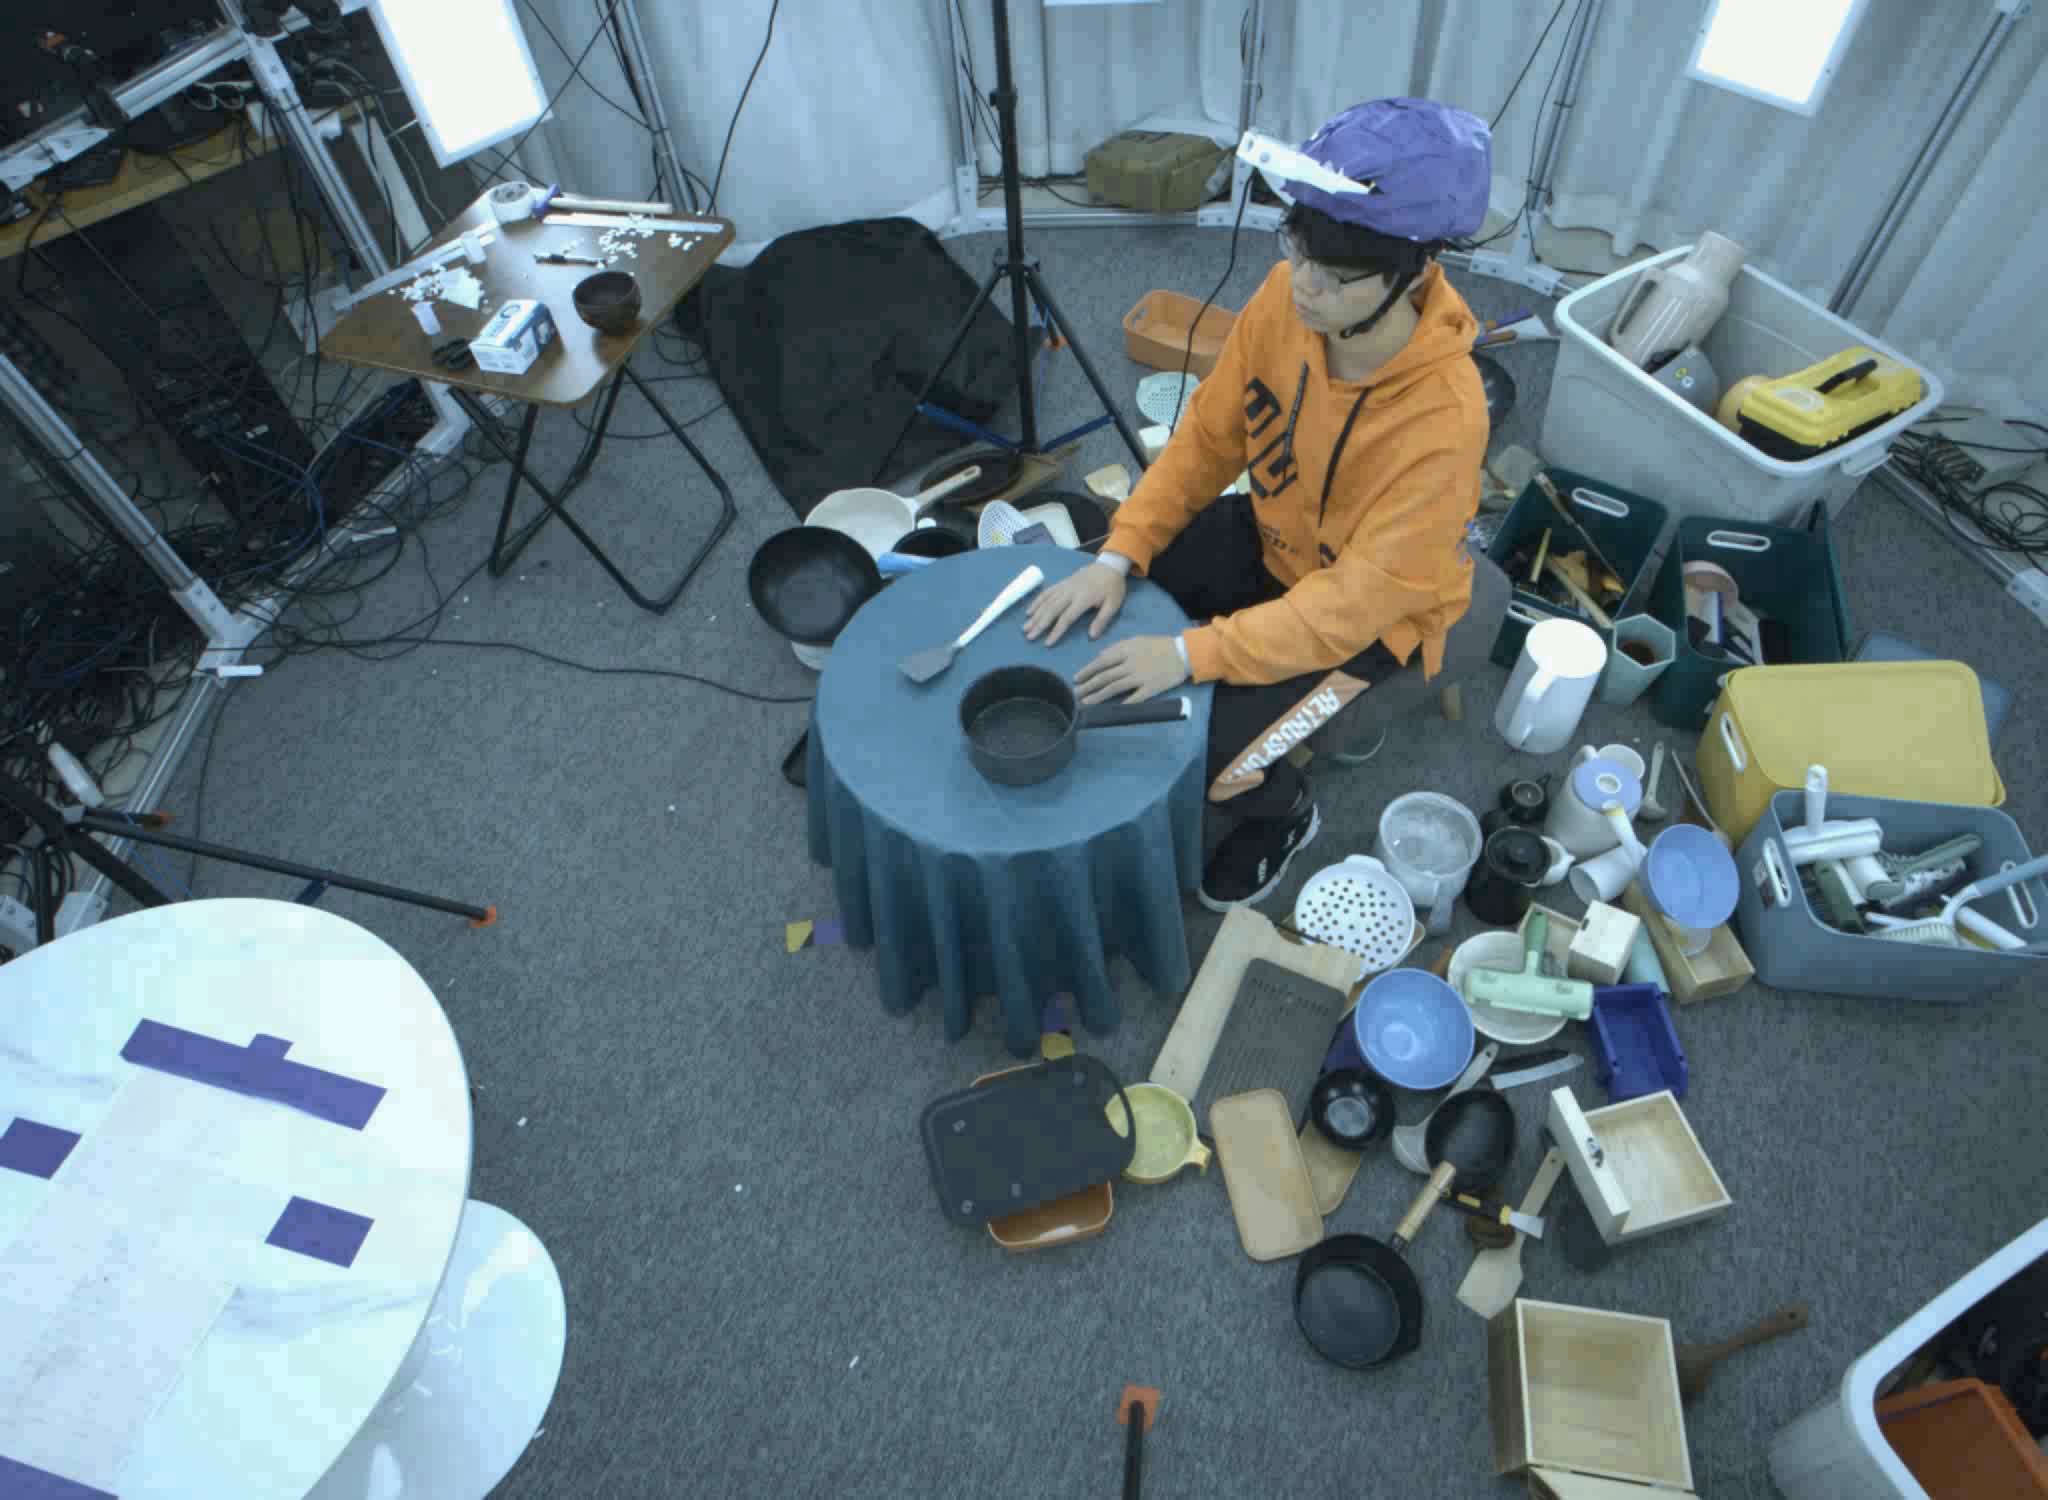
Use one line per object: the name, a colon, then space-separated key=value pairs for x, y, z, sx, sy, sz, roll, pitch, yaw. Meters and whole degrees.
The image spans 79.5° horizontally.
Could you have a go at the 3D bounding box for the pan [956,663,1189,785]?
pan: x=0.071 y=-0.036 z=1.757 sx=0.327 sy=0.087 sz=0.170 roll=1 pitch=56 yaw=5

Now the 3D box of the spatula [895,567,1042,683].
spatula: x=-0.080 y=-0.194 z=1.907 sx=0.058 sy=0.032 sz=0.289 roll=38 pitch=64 yaw=20
